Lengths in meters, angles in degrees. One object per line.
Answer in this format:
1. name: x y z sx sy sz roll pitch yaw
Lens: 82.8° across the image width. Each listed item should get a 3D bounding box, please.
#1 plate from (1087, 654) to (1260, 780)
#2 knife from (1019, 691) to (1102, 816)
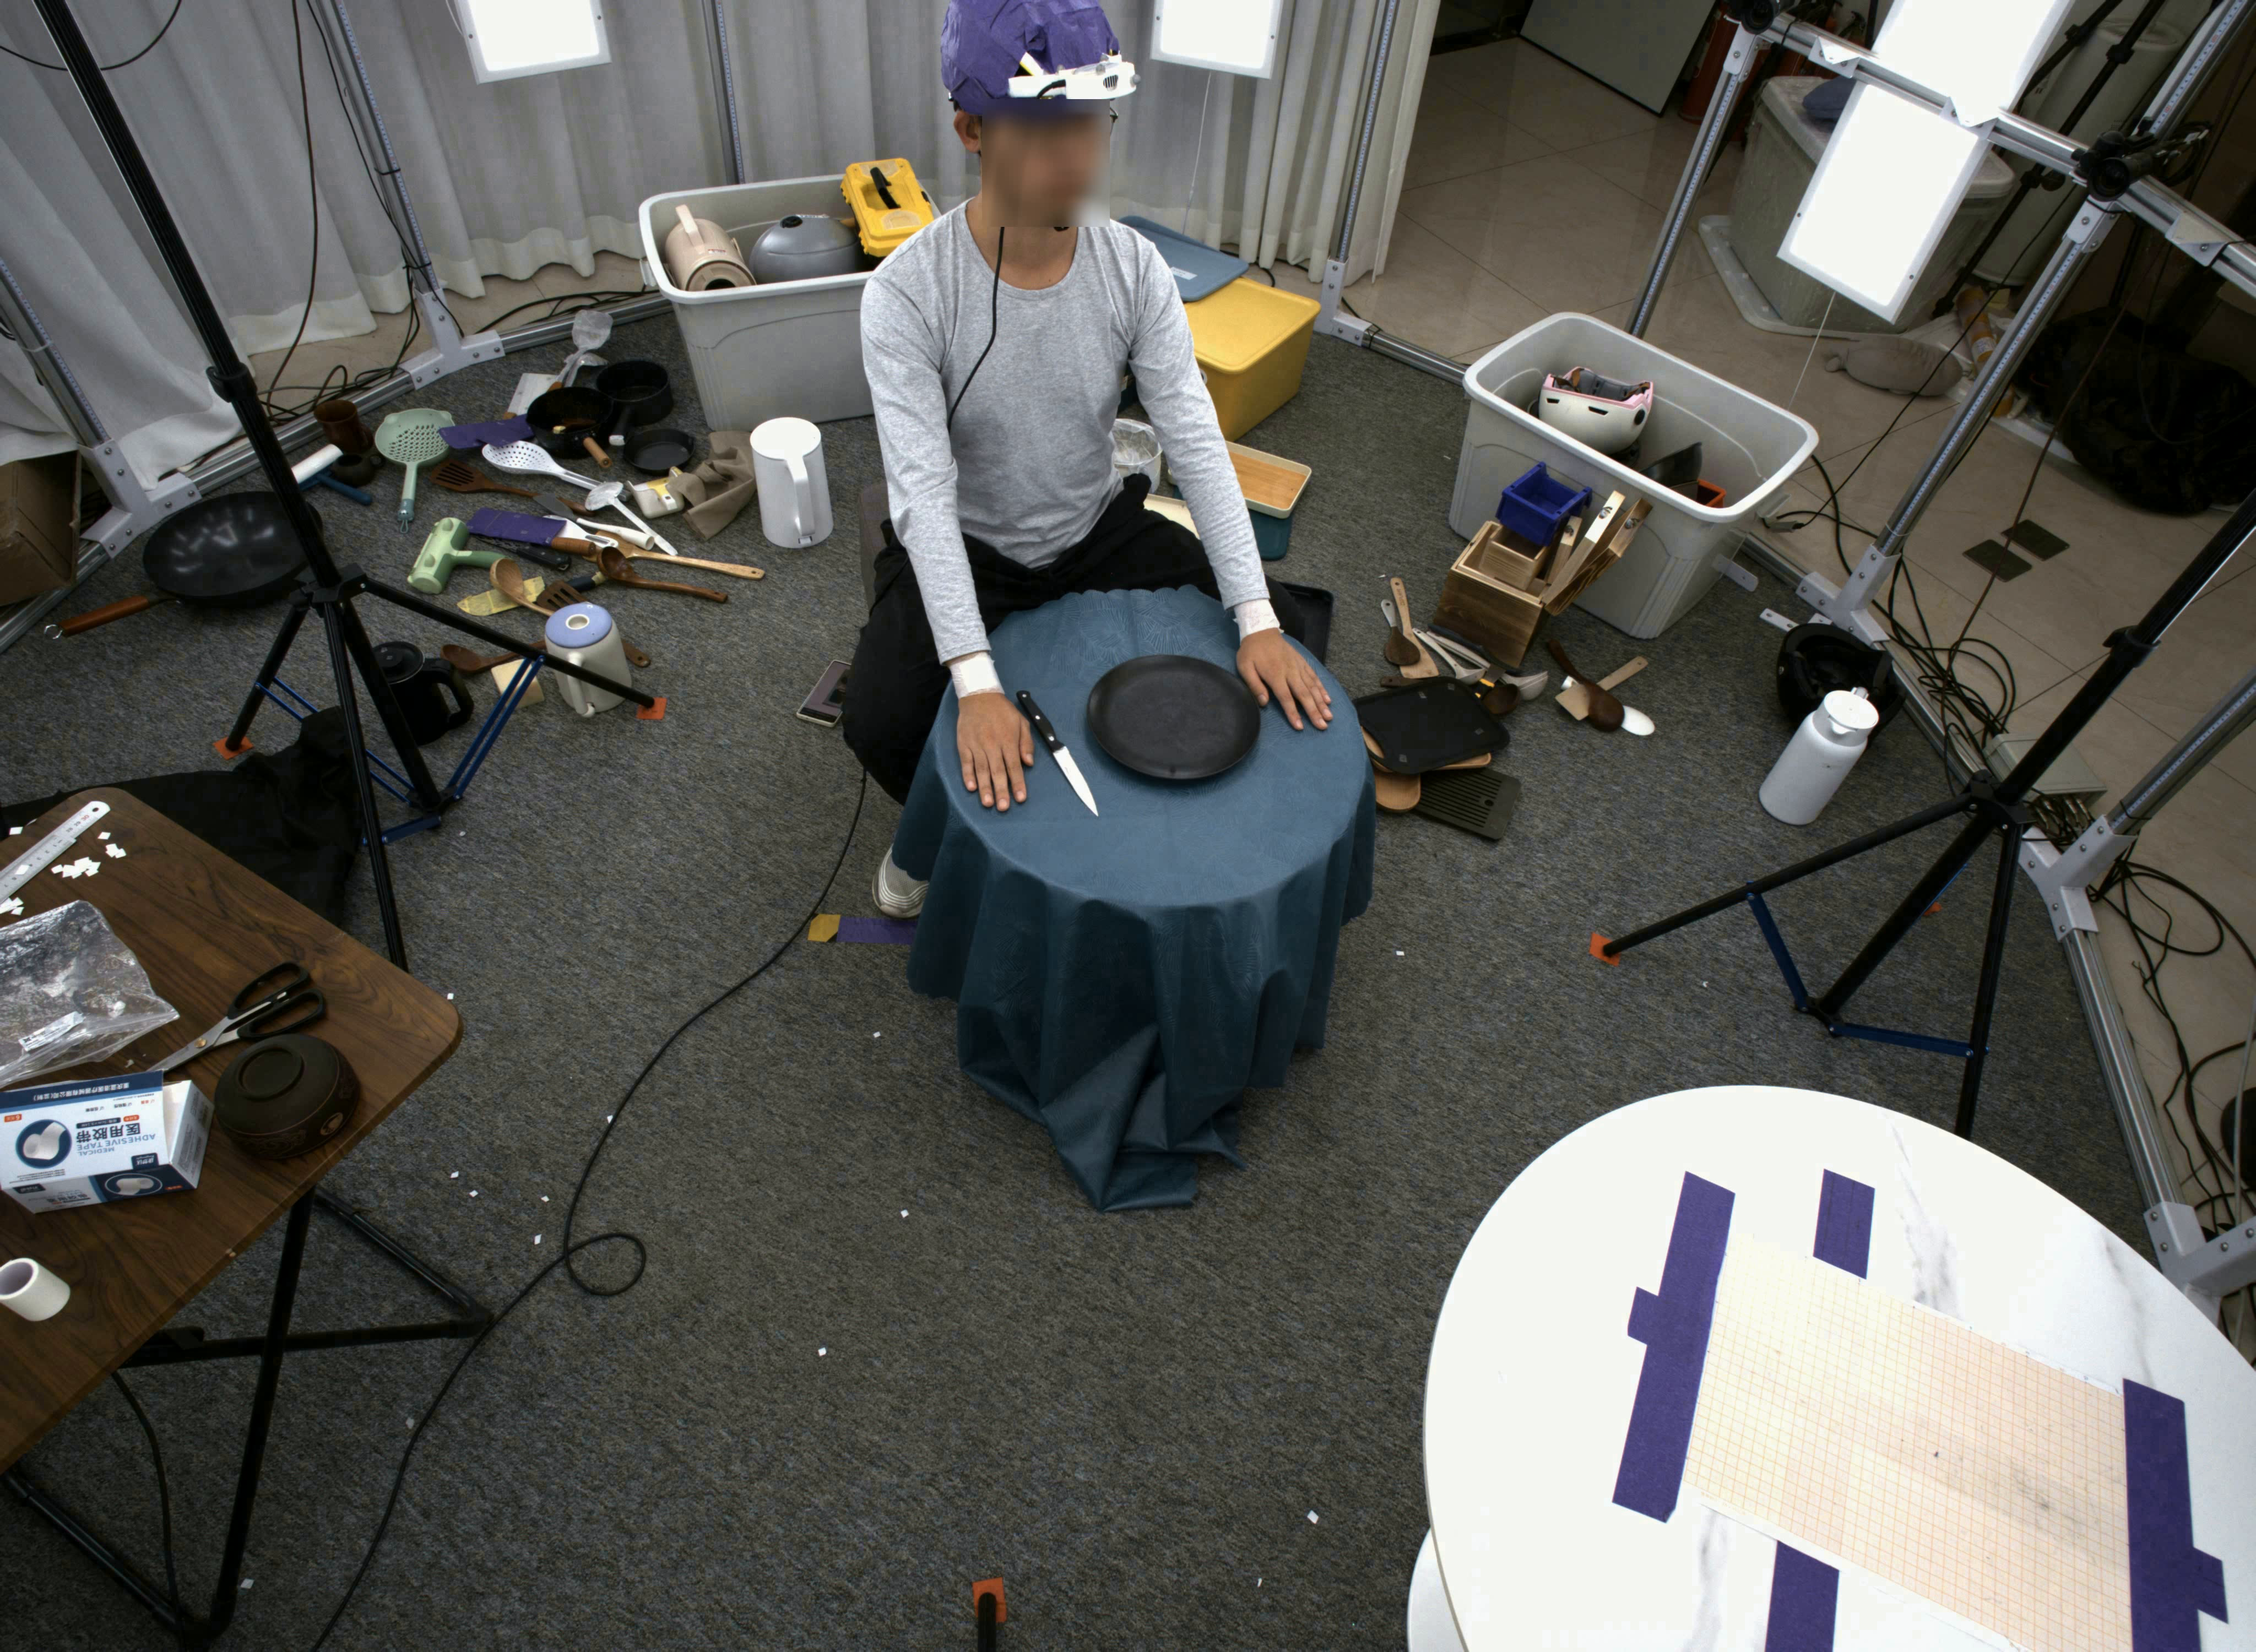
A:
1. plate: 0.063 -0.150 1.787 0.244 0.023 0.250 2 49 -2
2. knife: -0.093 -0.099 1.739 0.024 0.016 0.243 -20 56 -20
